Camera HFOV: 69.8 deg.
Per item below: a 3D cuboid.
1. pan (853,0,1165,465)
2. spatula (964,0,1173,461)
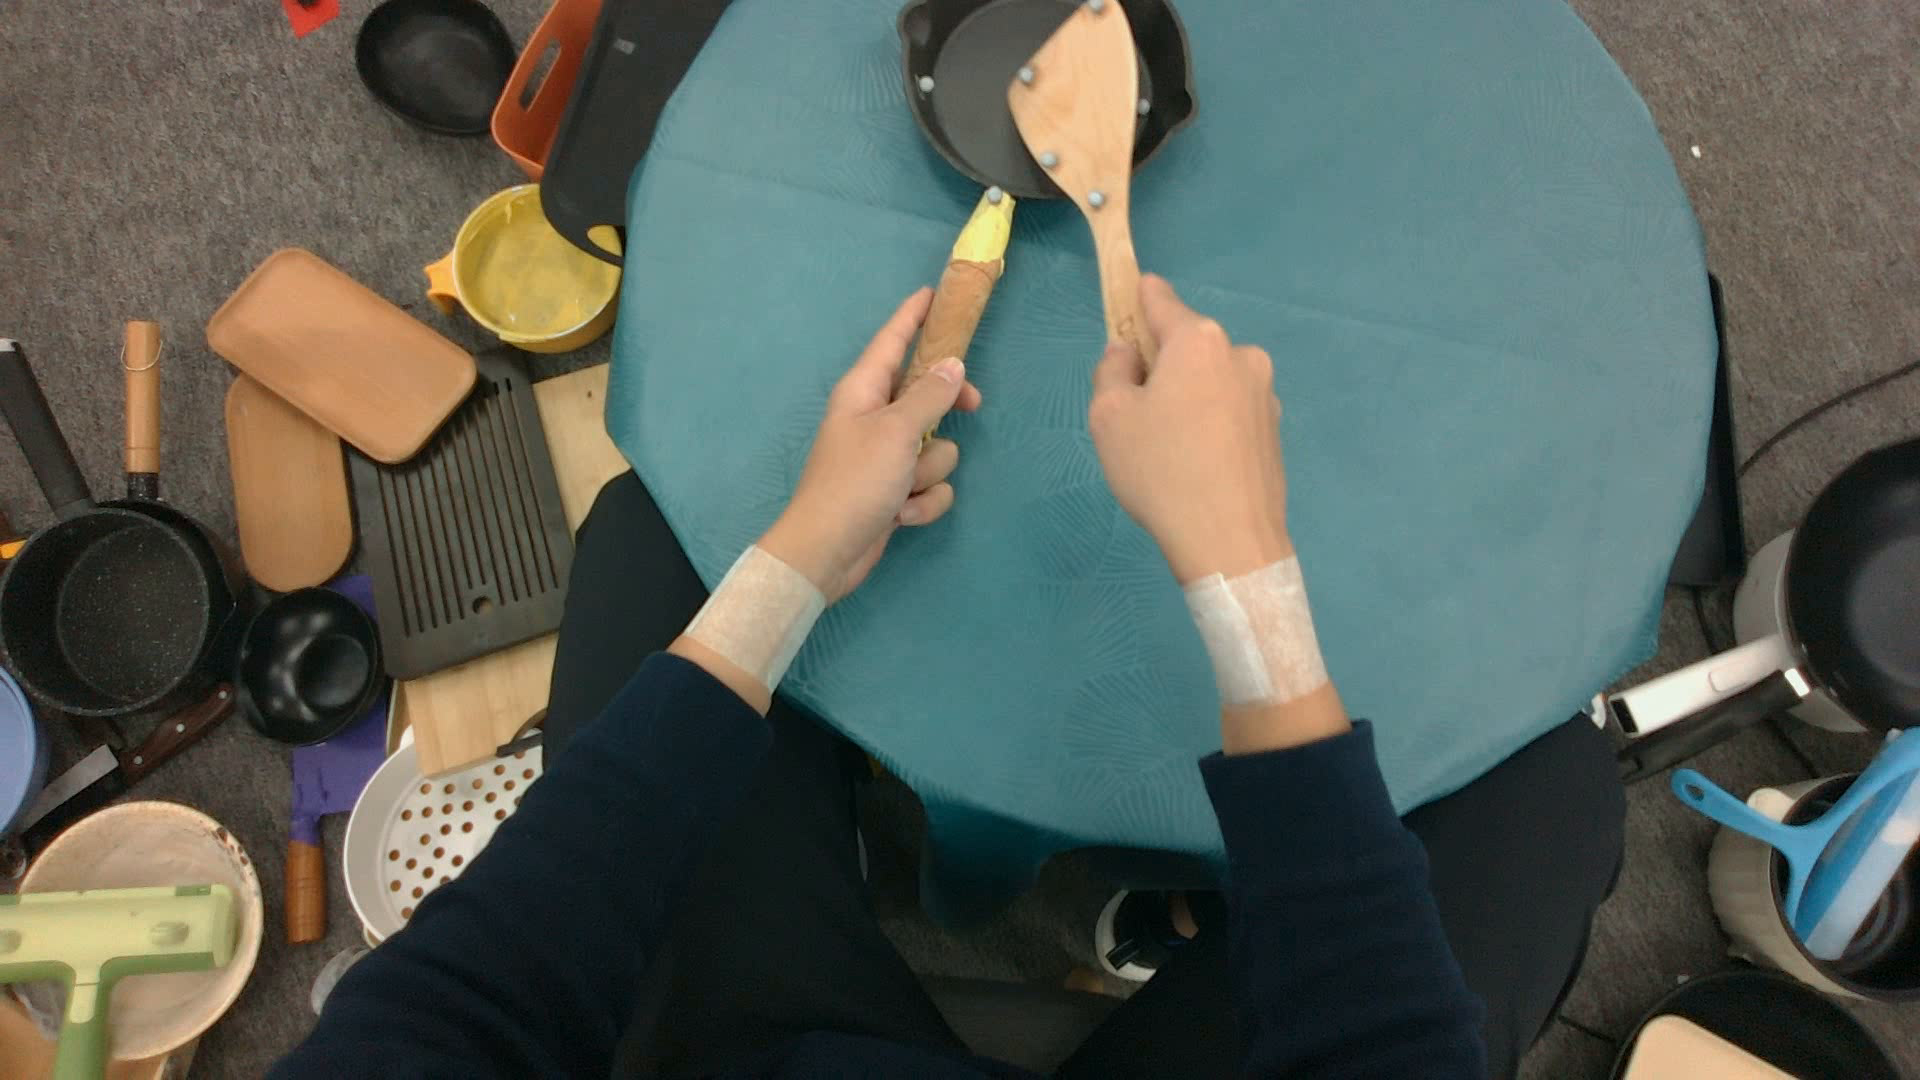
[{"bbox_3d":[0.002,-0.186,0.731,0.169,0.049,0.325,19,76,2],"label":"pan"},{"bbox_3d":[0.053,-0.163,0.665,0.079,0.016,0.329,-35,45,28],"label":"spatula"}]
